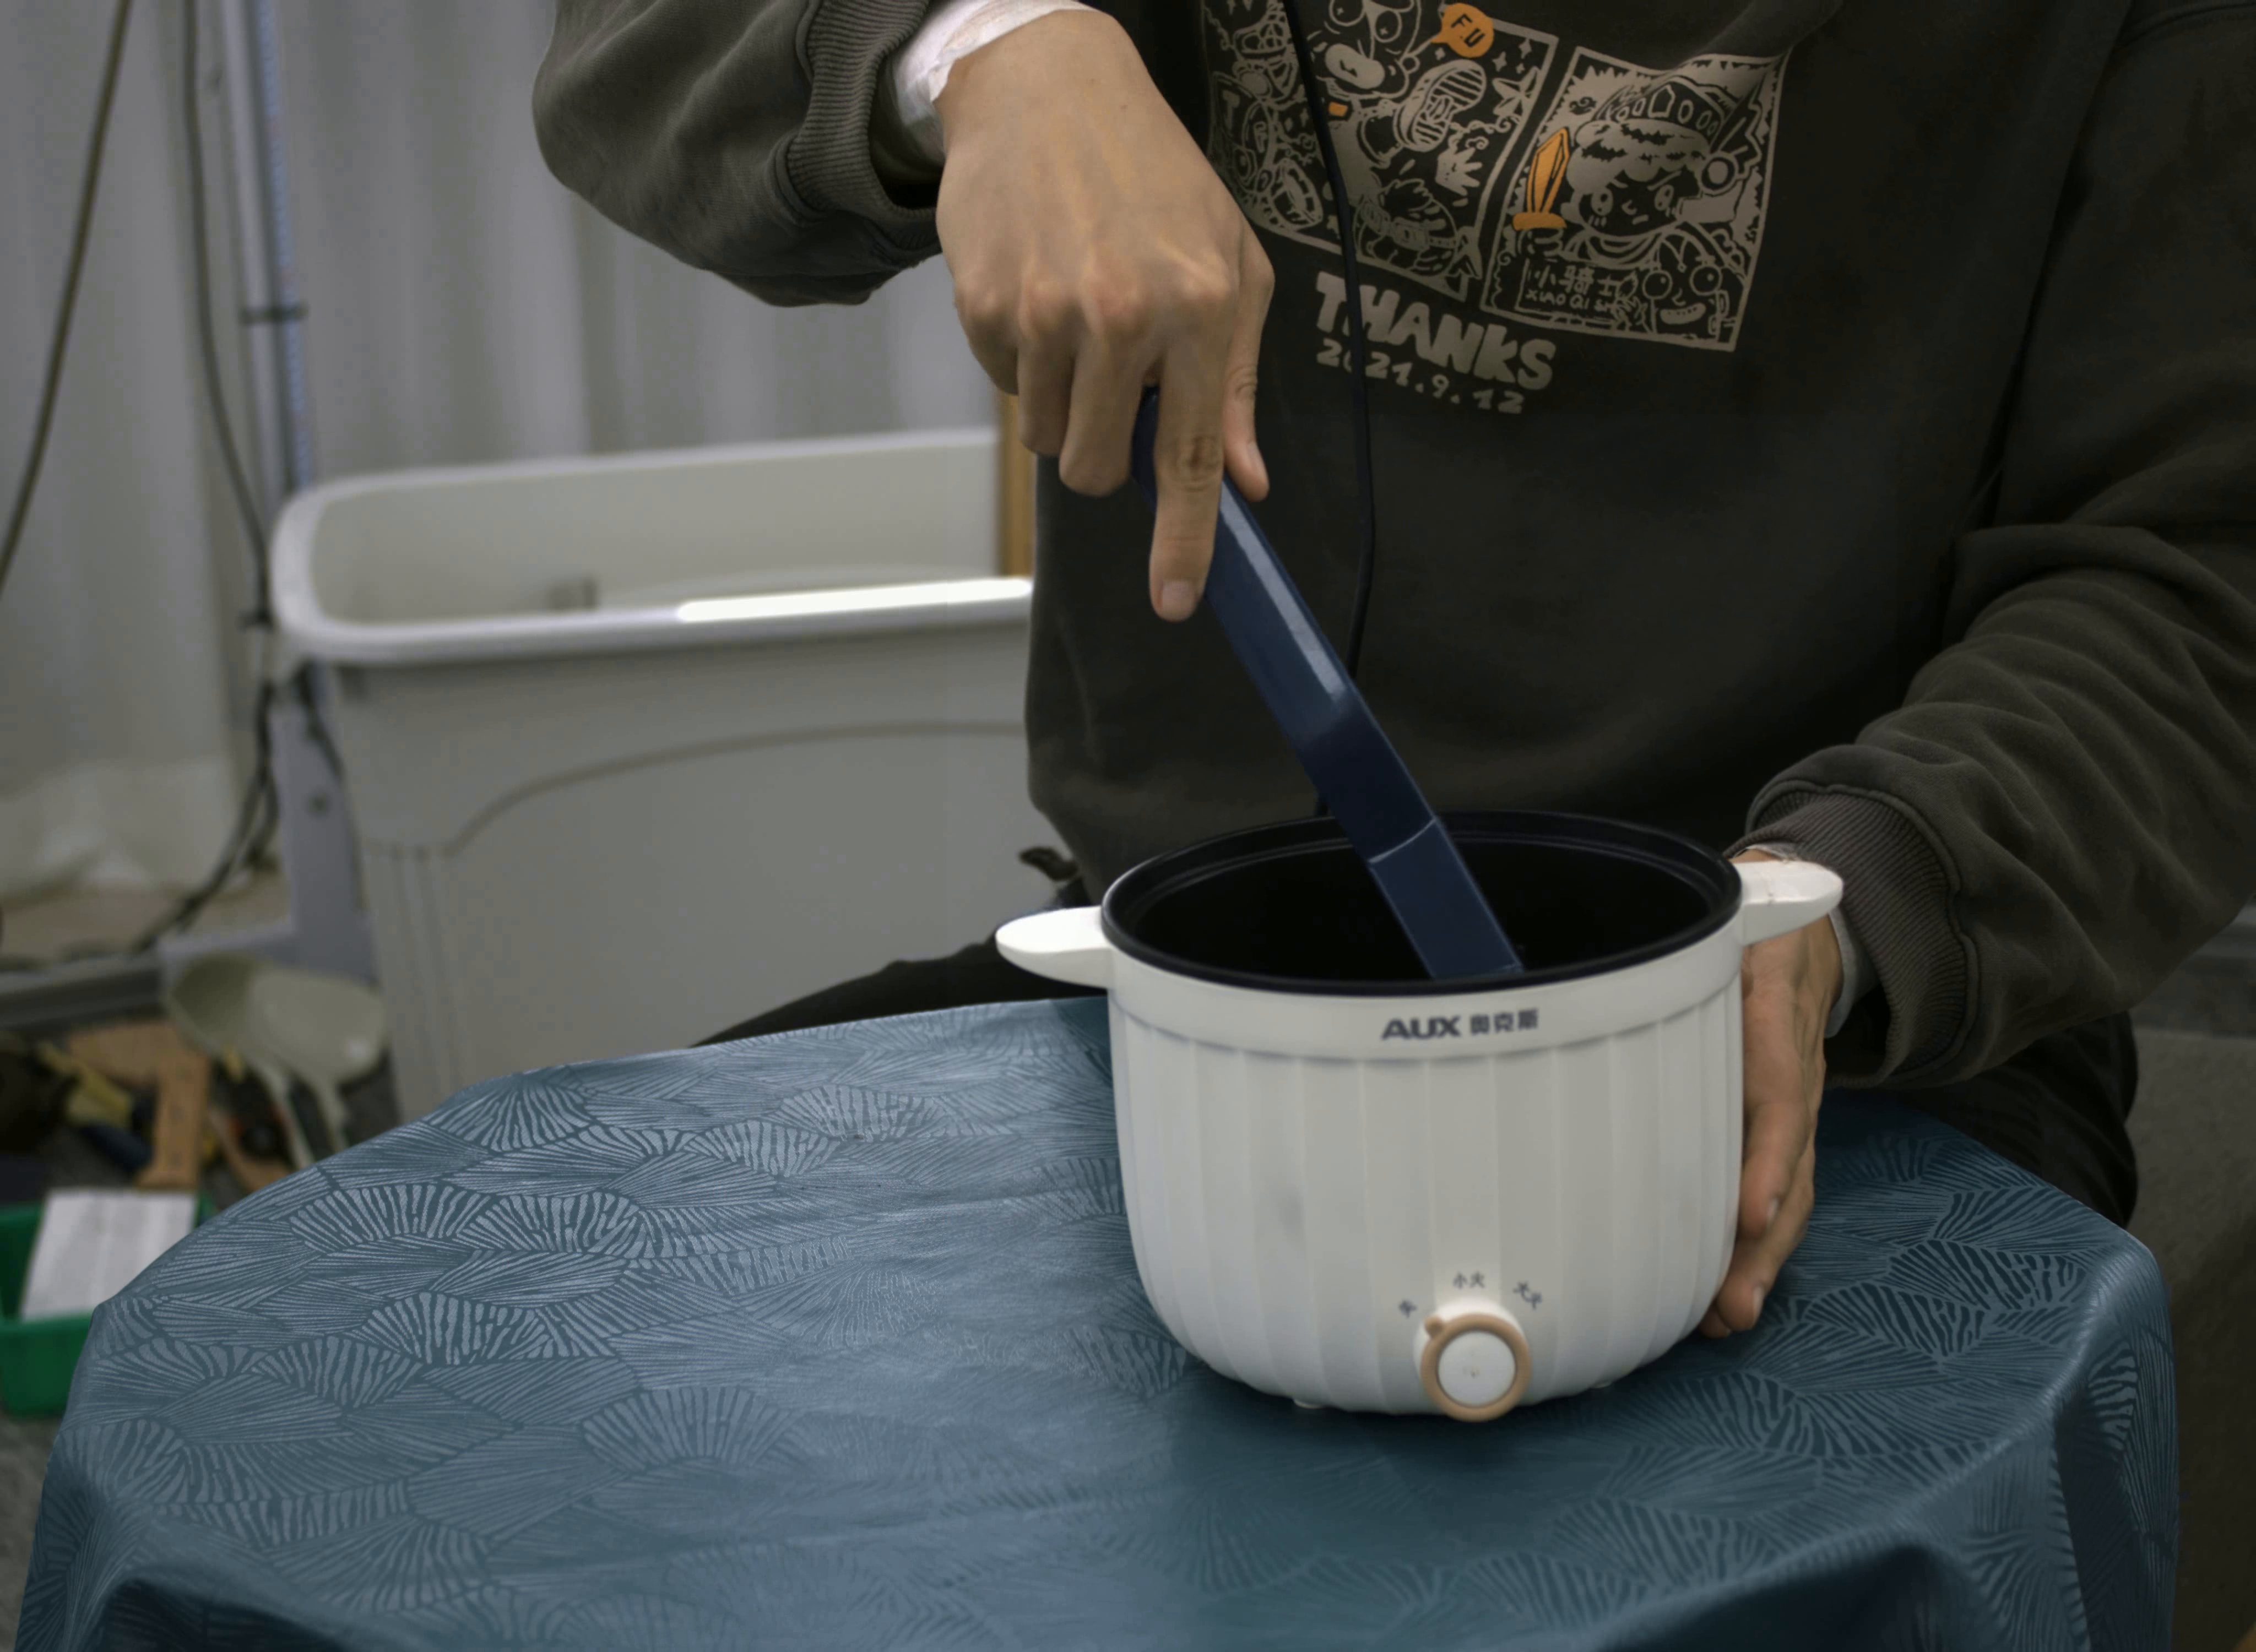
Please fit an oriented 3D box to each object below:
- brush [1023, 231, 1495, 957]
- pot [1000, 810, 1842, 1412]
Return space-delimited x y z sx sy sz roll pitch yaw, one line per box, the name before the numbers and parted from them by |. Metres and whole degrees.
brush | 0.048 -0.044 1.570 0.033 0.273 0.096 -30 3 8
pot | 0.088 0.083 1.553 0.239 0.142 0.191 -5 11 -3
